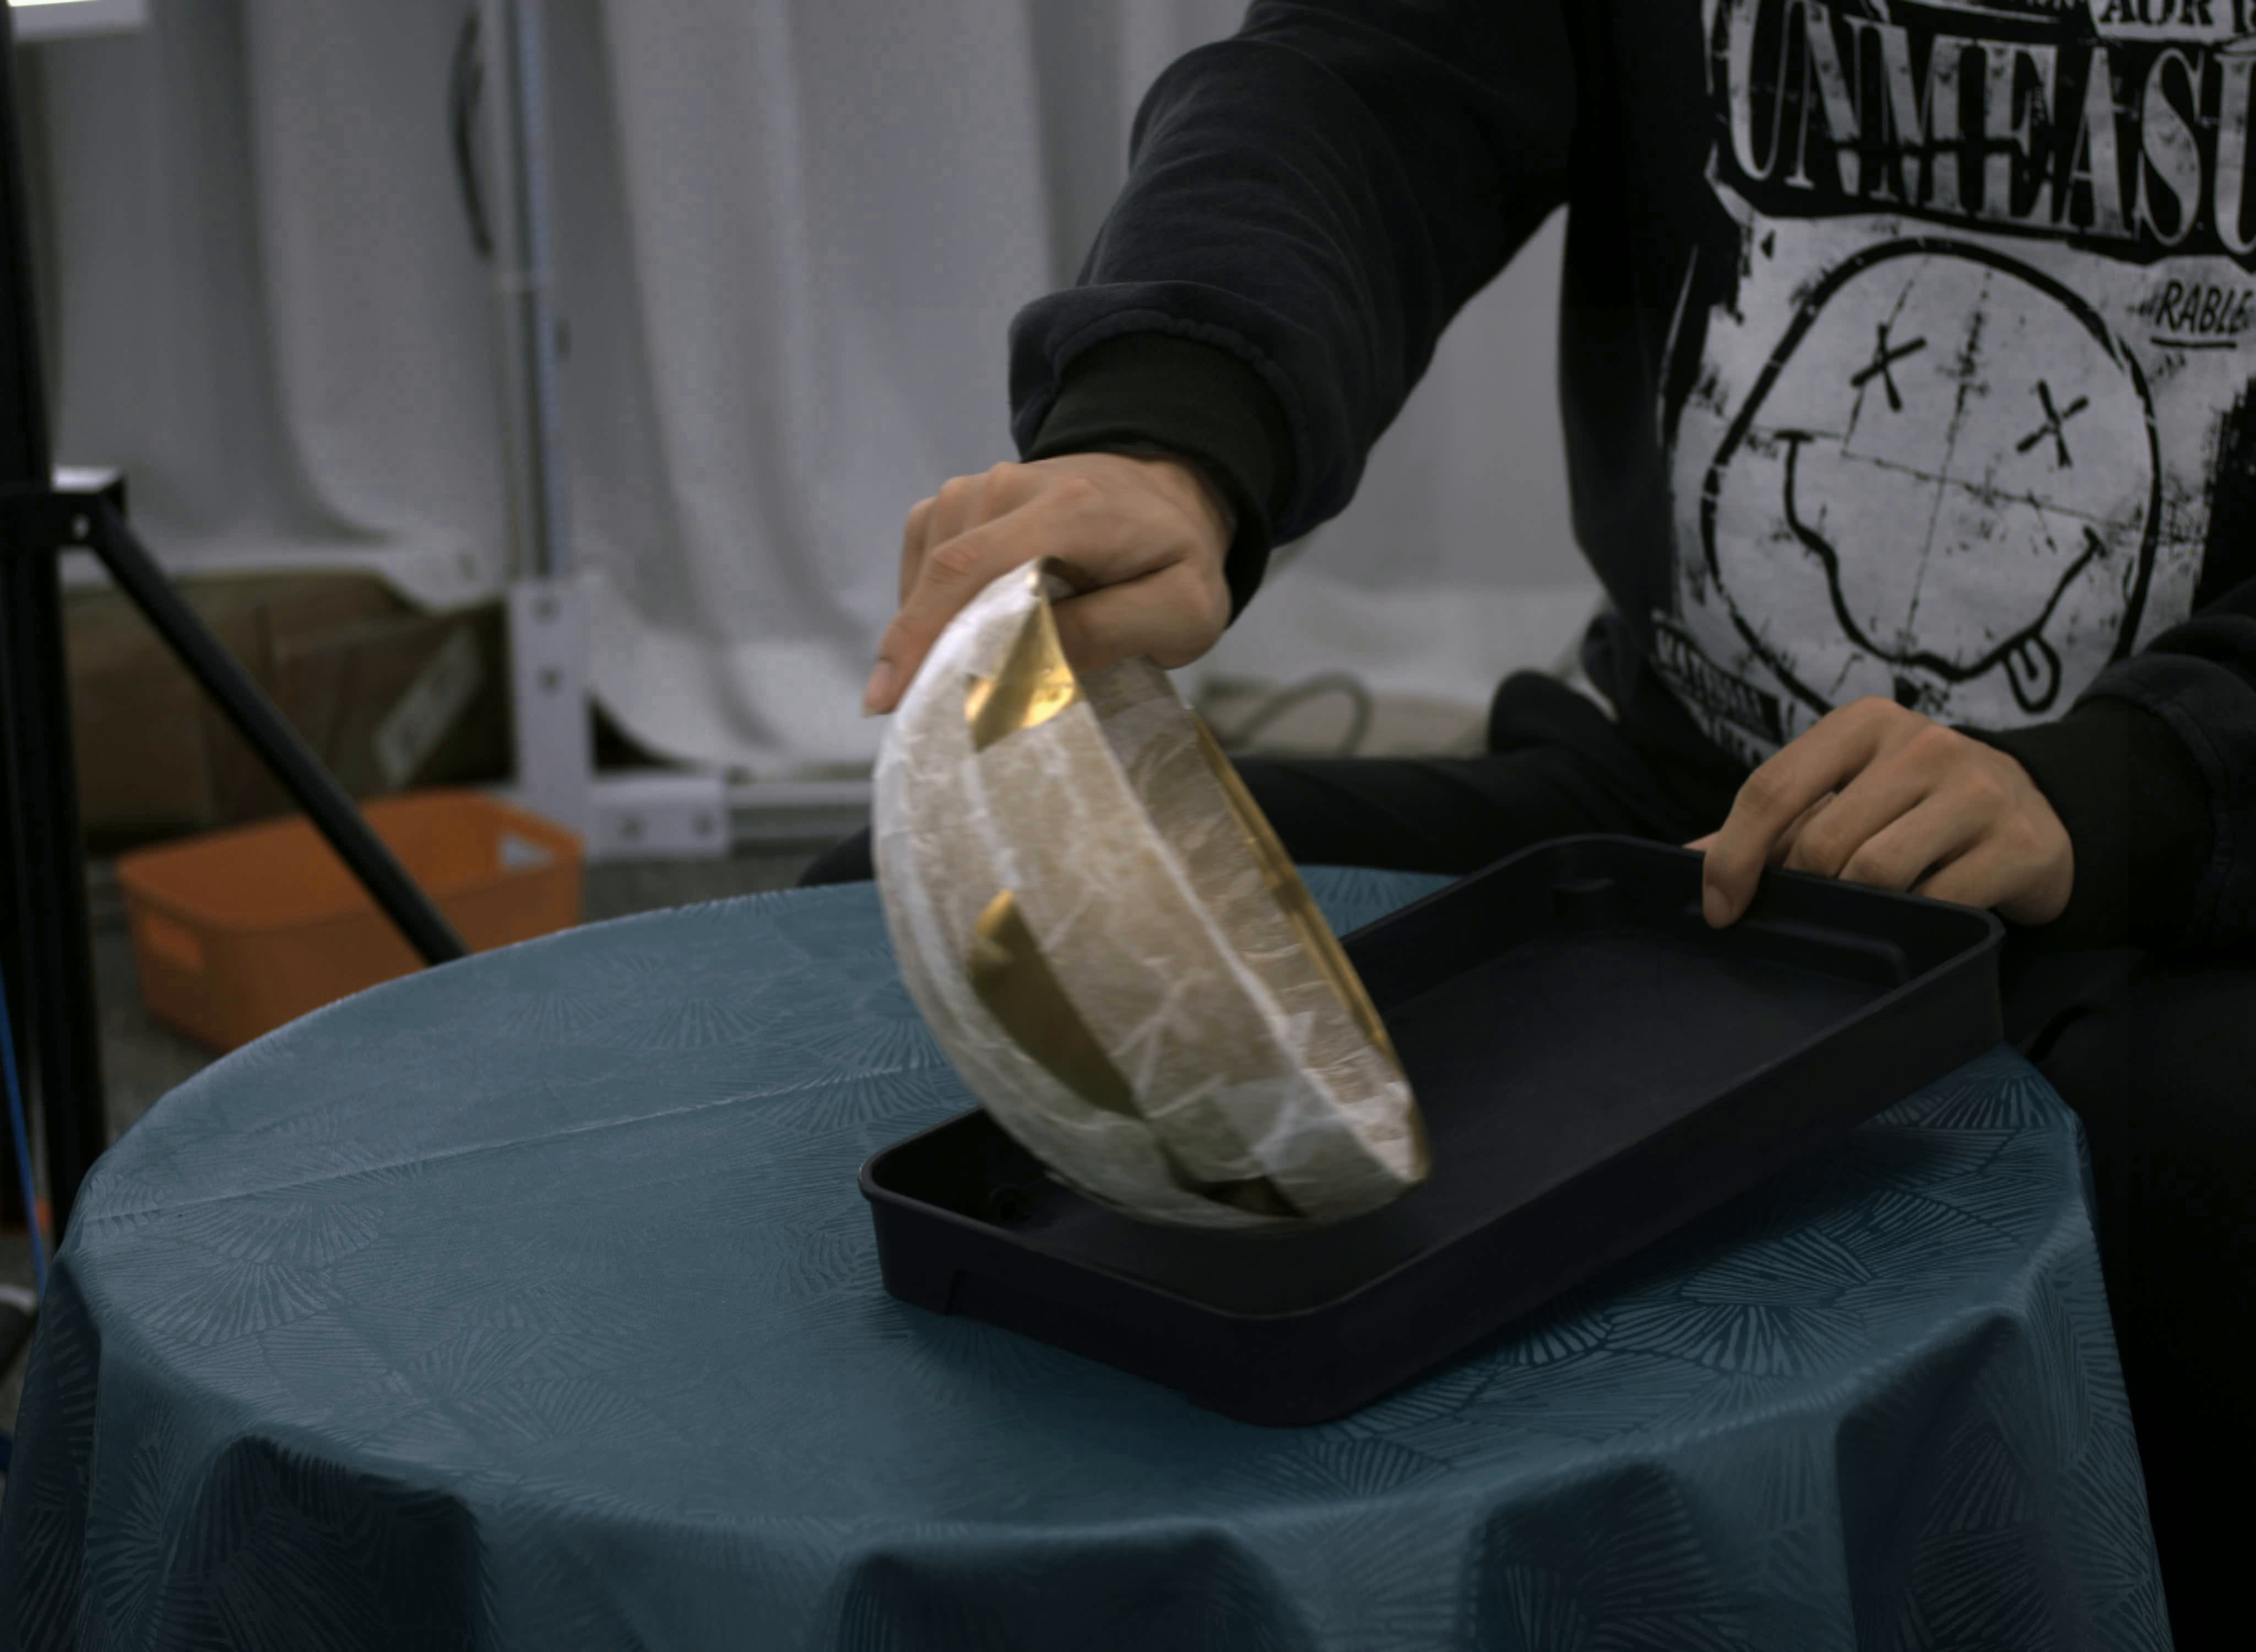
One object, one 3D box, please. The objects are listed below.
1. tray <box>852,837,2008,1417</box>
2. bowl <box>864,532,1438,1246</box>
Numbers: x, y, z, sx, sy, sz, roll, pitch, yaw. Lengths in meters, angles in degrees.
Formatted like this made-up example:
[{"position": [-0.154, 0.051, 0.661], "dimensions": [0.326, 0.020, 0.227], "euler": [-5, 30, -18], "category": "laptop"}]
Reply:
[{"position": [0.091, 0.079, 1.517], "dimensions": [0.311, 0.037, 0.188], "euler": [-23, 23, -36], "category": "tray"}, {"position": [-0.009, 0.033, 1.435], "dimensions": [0.095, 0.213, 0.215], "euler": [-32, 12, 10], "category": "bowl"}]
